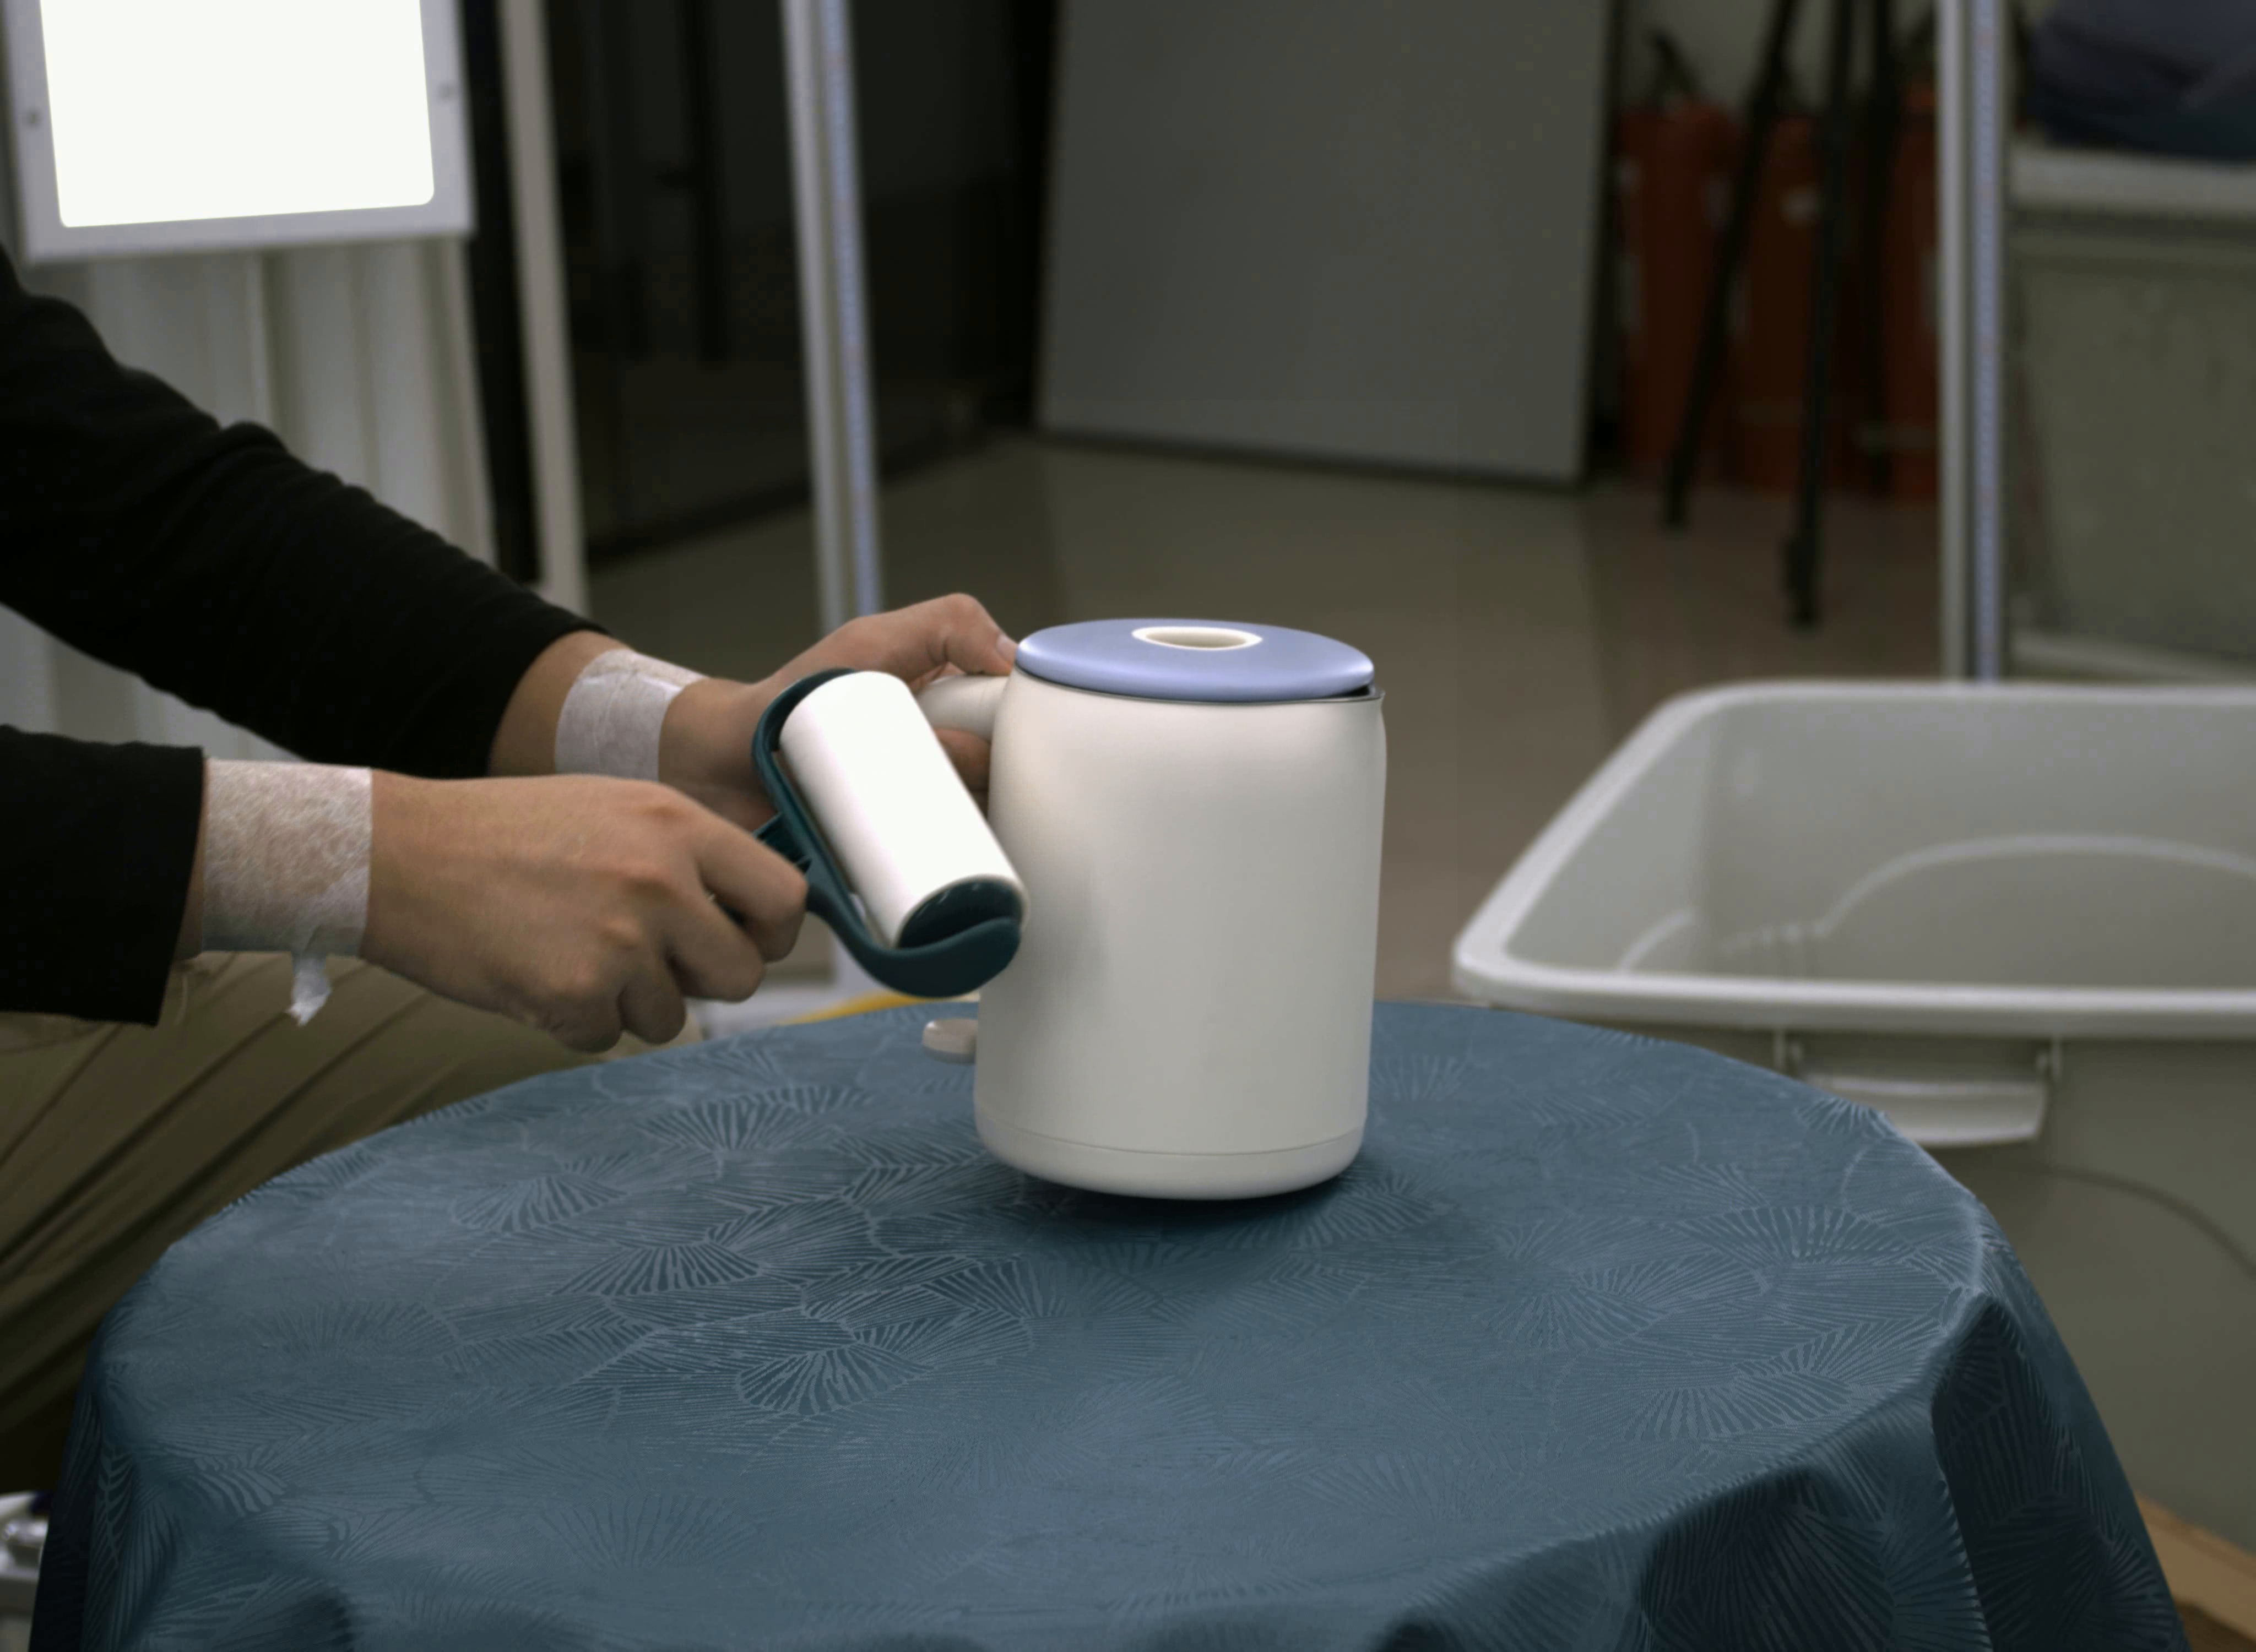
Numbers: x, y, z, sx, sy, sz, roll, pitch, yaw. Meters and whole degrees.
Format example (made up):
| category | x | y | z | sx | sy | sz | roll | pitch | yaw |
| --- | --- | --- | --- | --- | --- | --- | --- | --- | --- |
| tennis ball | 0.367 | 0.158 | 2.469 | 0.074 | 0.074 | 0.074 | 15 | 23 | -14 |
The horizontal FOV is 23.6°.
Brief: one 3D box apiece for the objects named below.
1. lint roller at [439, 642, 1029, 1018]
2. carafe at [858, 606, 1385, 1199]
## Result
| category | x | y | z | sx | sy | sz | roll | pitch | yaw |
| --- | --- | --- | --- | --- | --- | --- | --- | --- | --- |
| lint roller | -0.132 | 0.015 | 1.697 | 0.177 | 0.048 | 0.136 | -16 | 46 | -18 |
| carafe | -0.004 | 0.022 | 1.779 | 0.191 | 0.185 | 0.130 | 5 | 10 | 28 |
